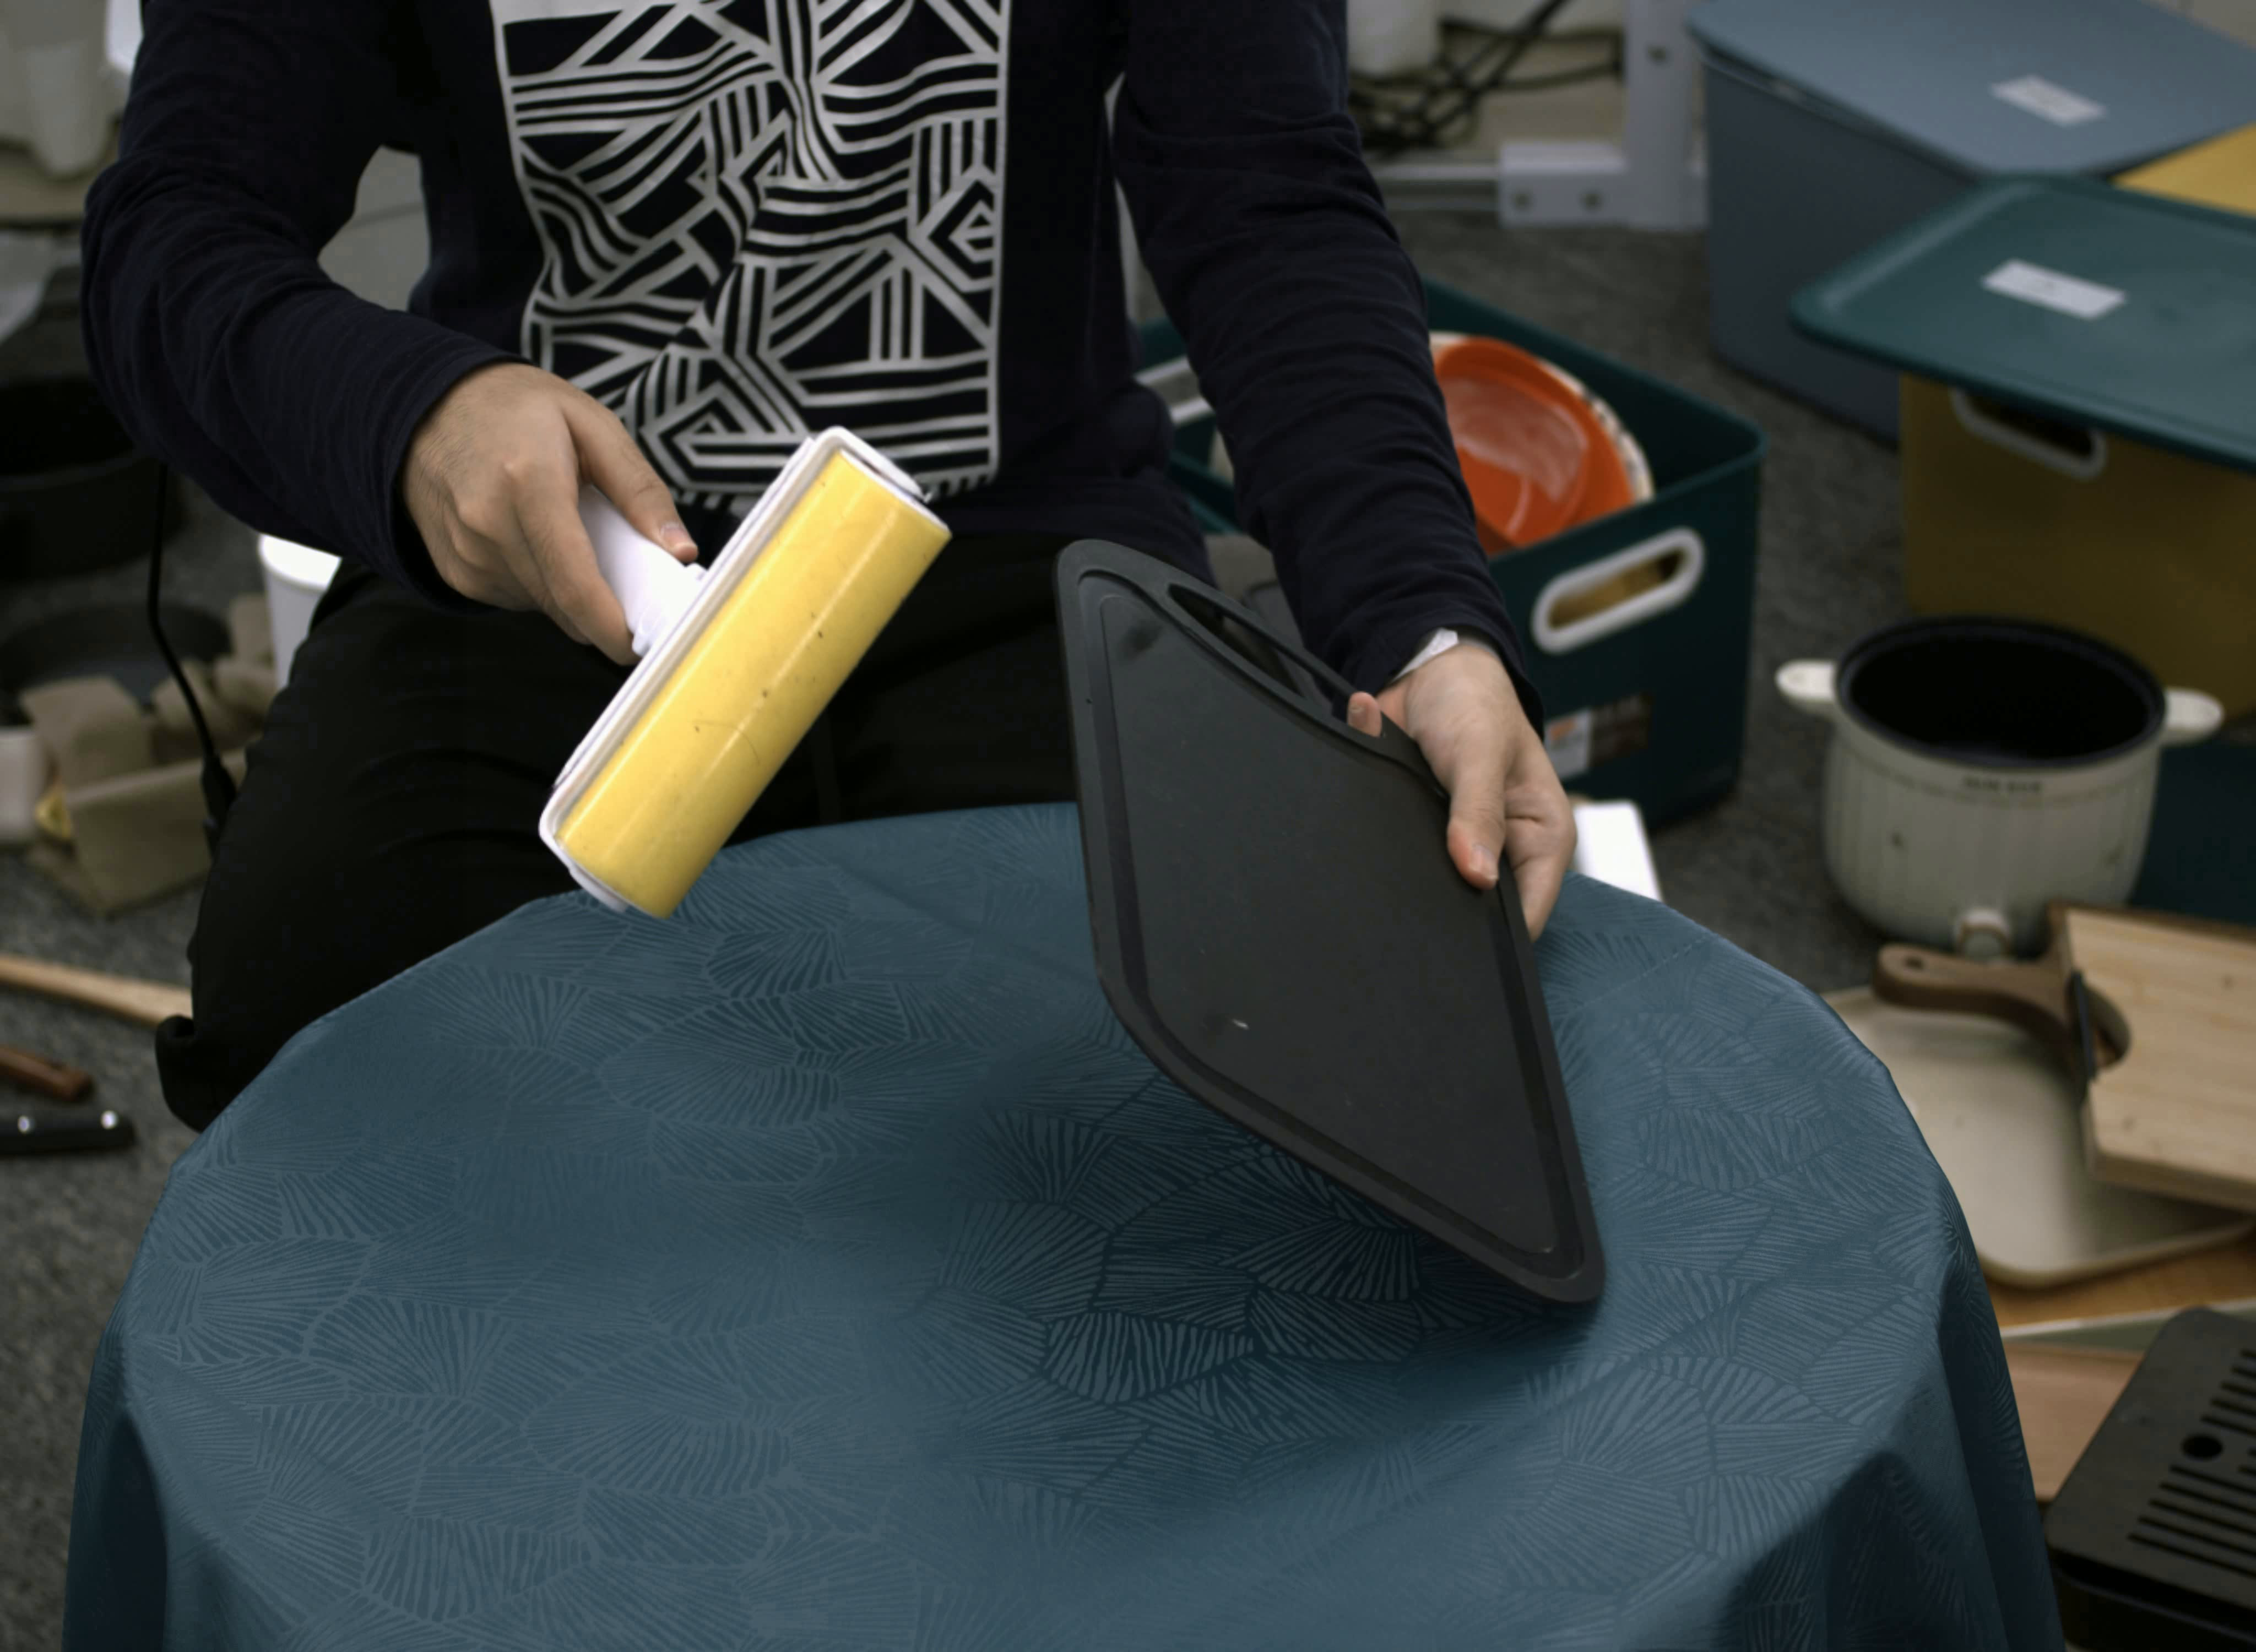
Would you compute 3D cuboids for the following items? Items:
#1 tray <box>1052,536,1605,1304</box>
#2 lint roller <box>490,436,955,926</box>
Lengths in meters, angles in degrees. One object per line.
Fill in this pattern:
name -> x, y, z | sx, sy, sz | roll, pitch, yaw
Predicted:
tray -> 0.063, 0.019, 1.860 | 0.210, 0.009, 0.331 | 32, 26, -24
lint roller -> -0.168, -0.079, 1.909 | 0.193, 0.174, 0.051 | 37, 0, 37
